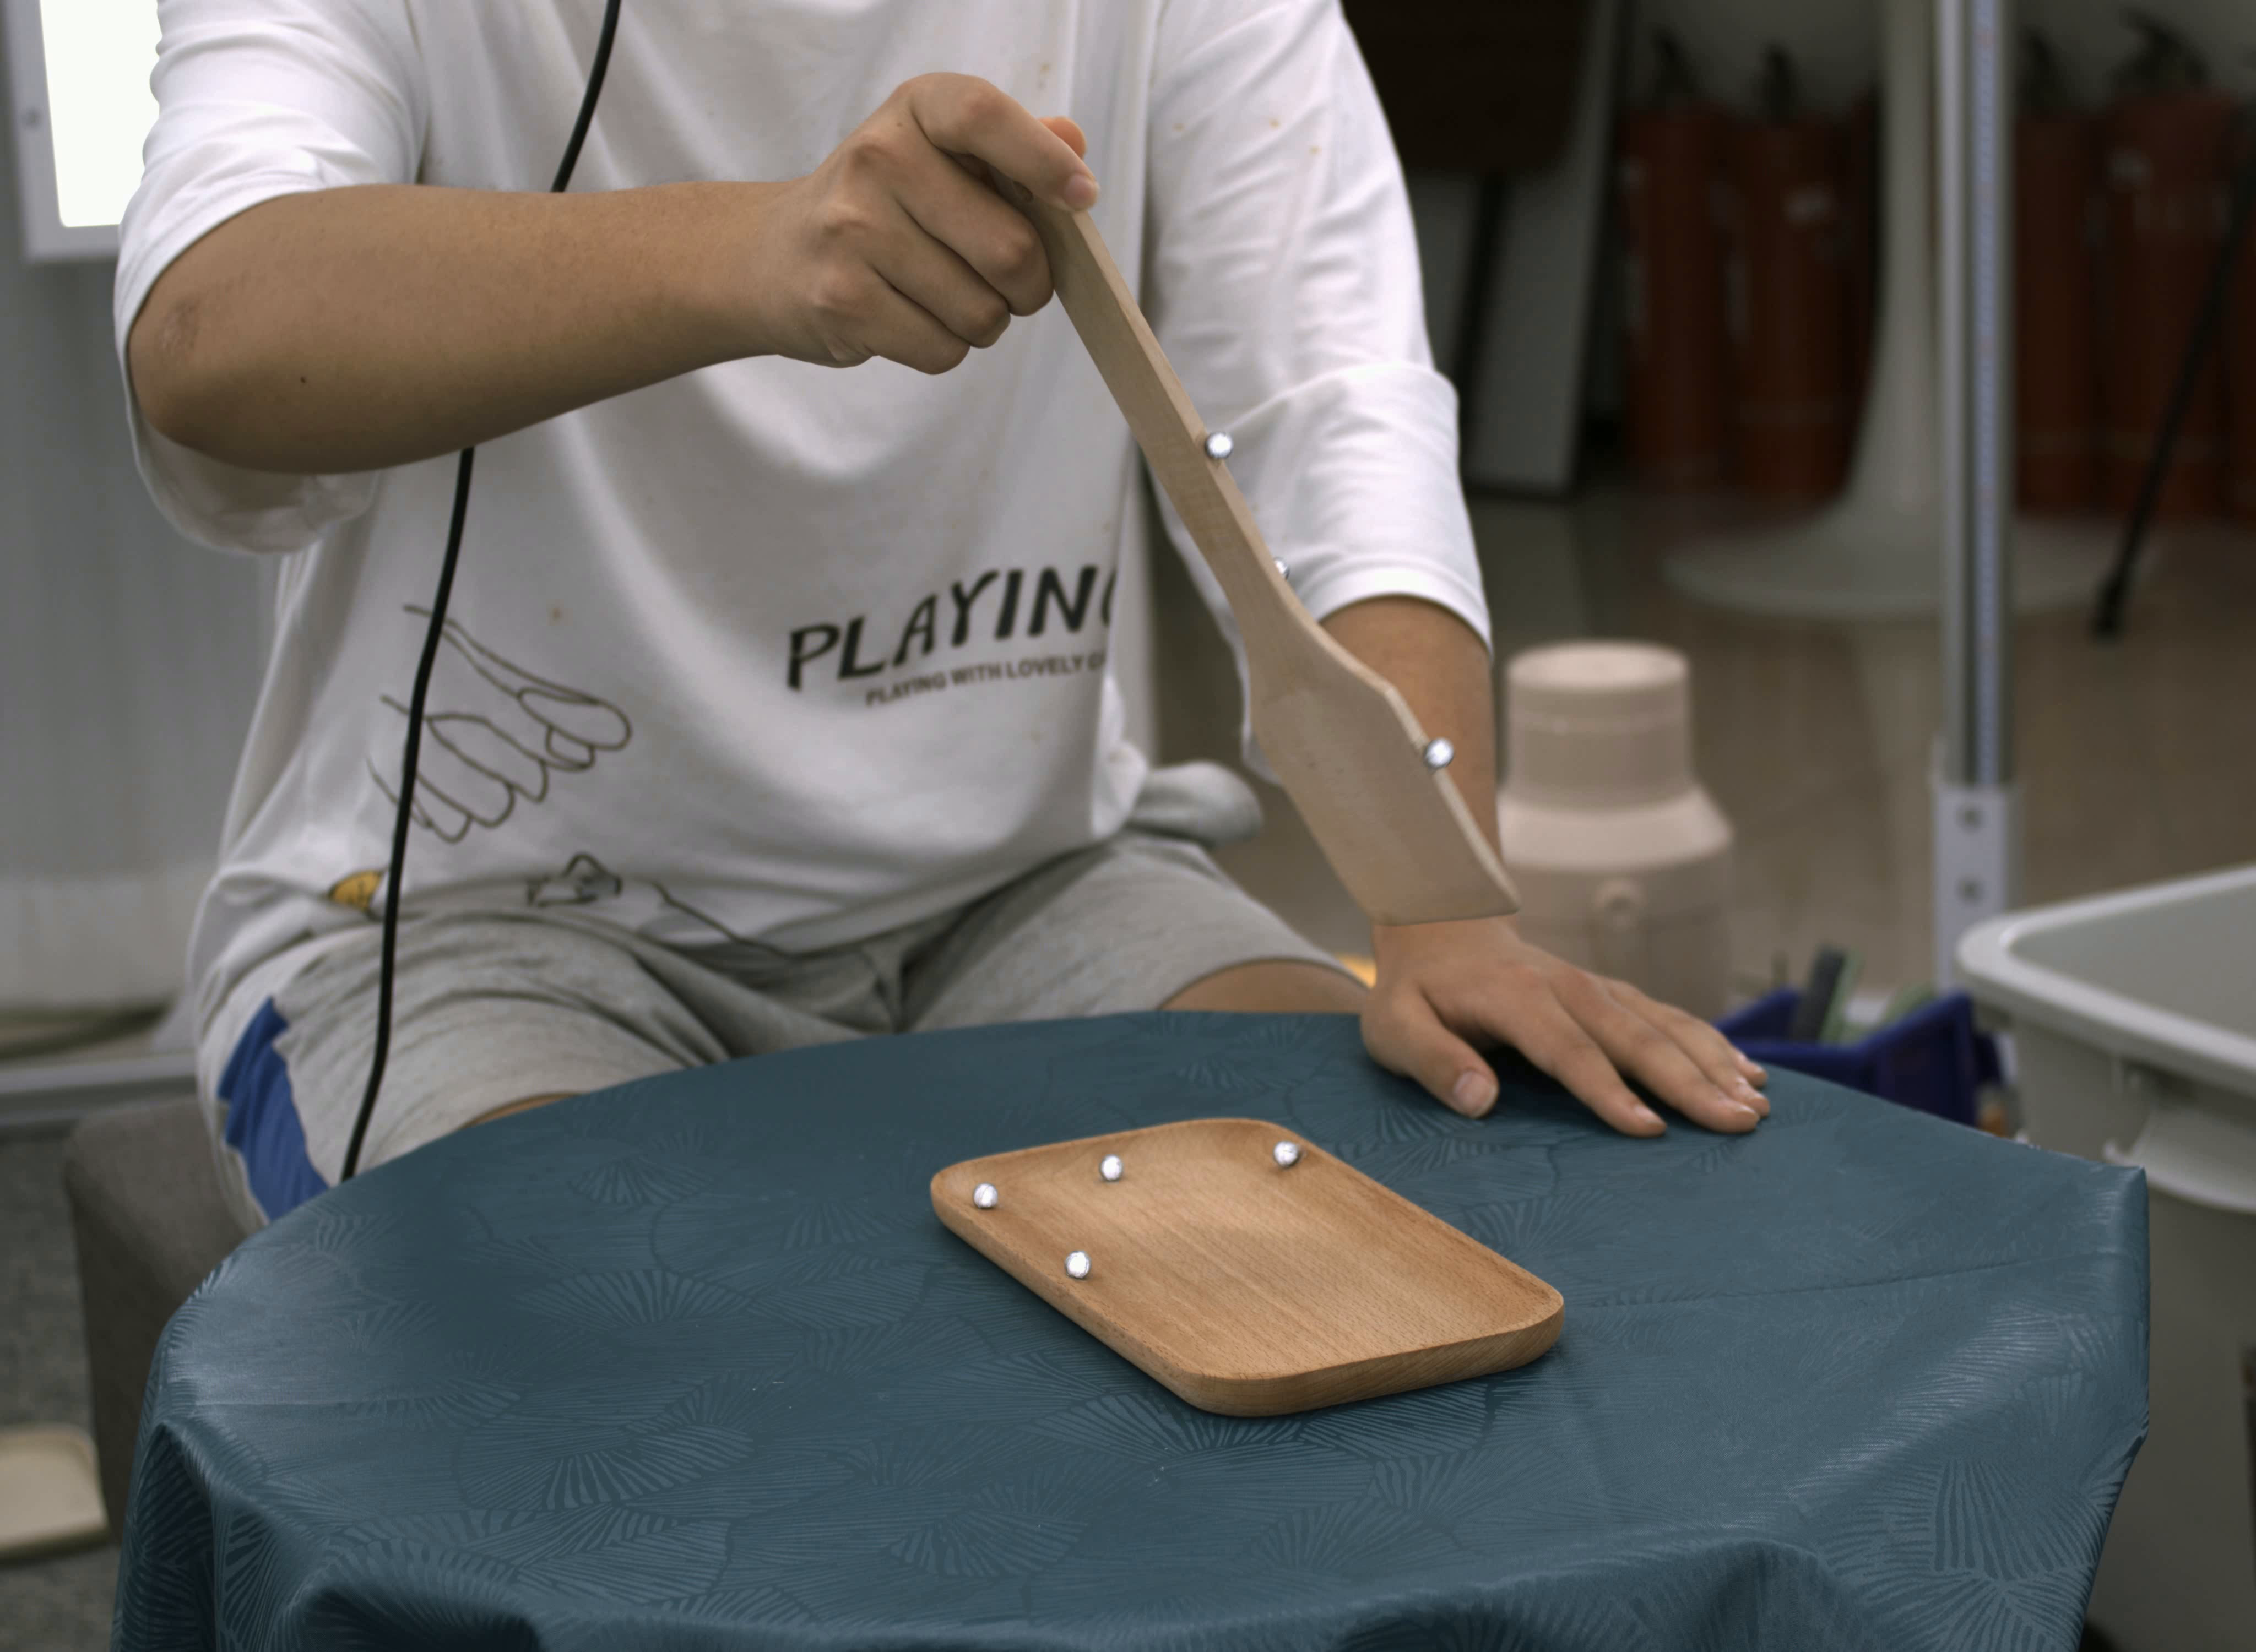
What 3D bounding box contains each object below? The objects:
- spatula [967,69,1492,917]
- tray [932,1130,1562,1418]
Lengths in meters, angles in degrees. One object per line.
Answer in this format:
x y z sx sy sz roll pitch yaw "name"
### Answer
0.025 -0.096 1.622 0.010 0.293 0.073 -38 18 -31 "spatula"
0.033 0.136 1.671 0.128 0.023 0.253 -11 15 -19 "tray"
